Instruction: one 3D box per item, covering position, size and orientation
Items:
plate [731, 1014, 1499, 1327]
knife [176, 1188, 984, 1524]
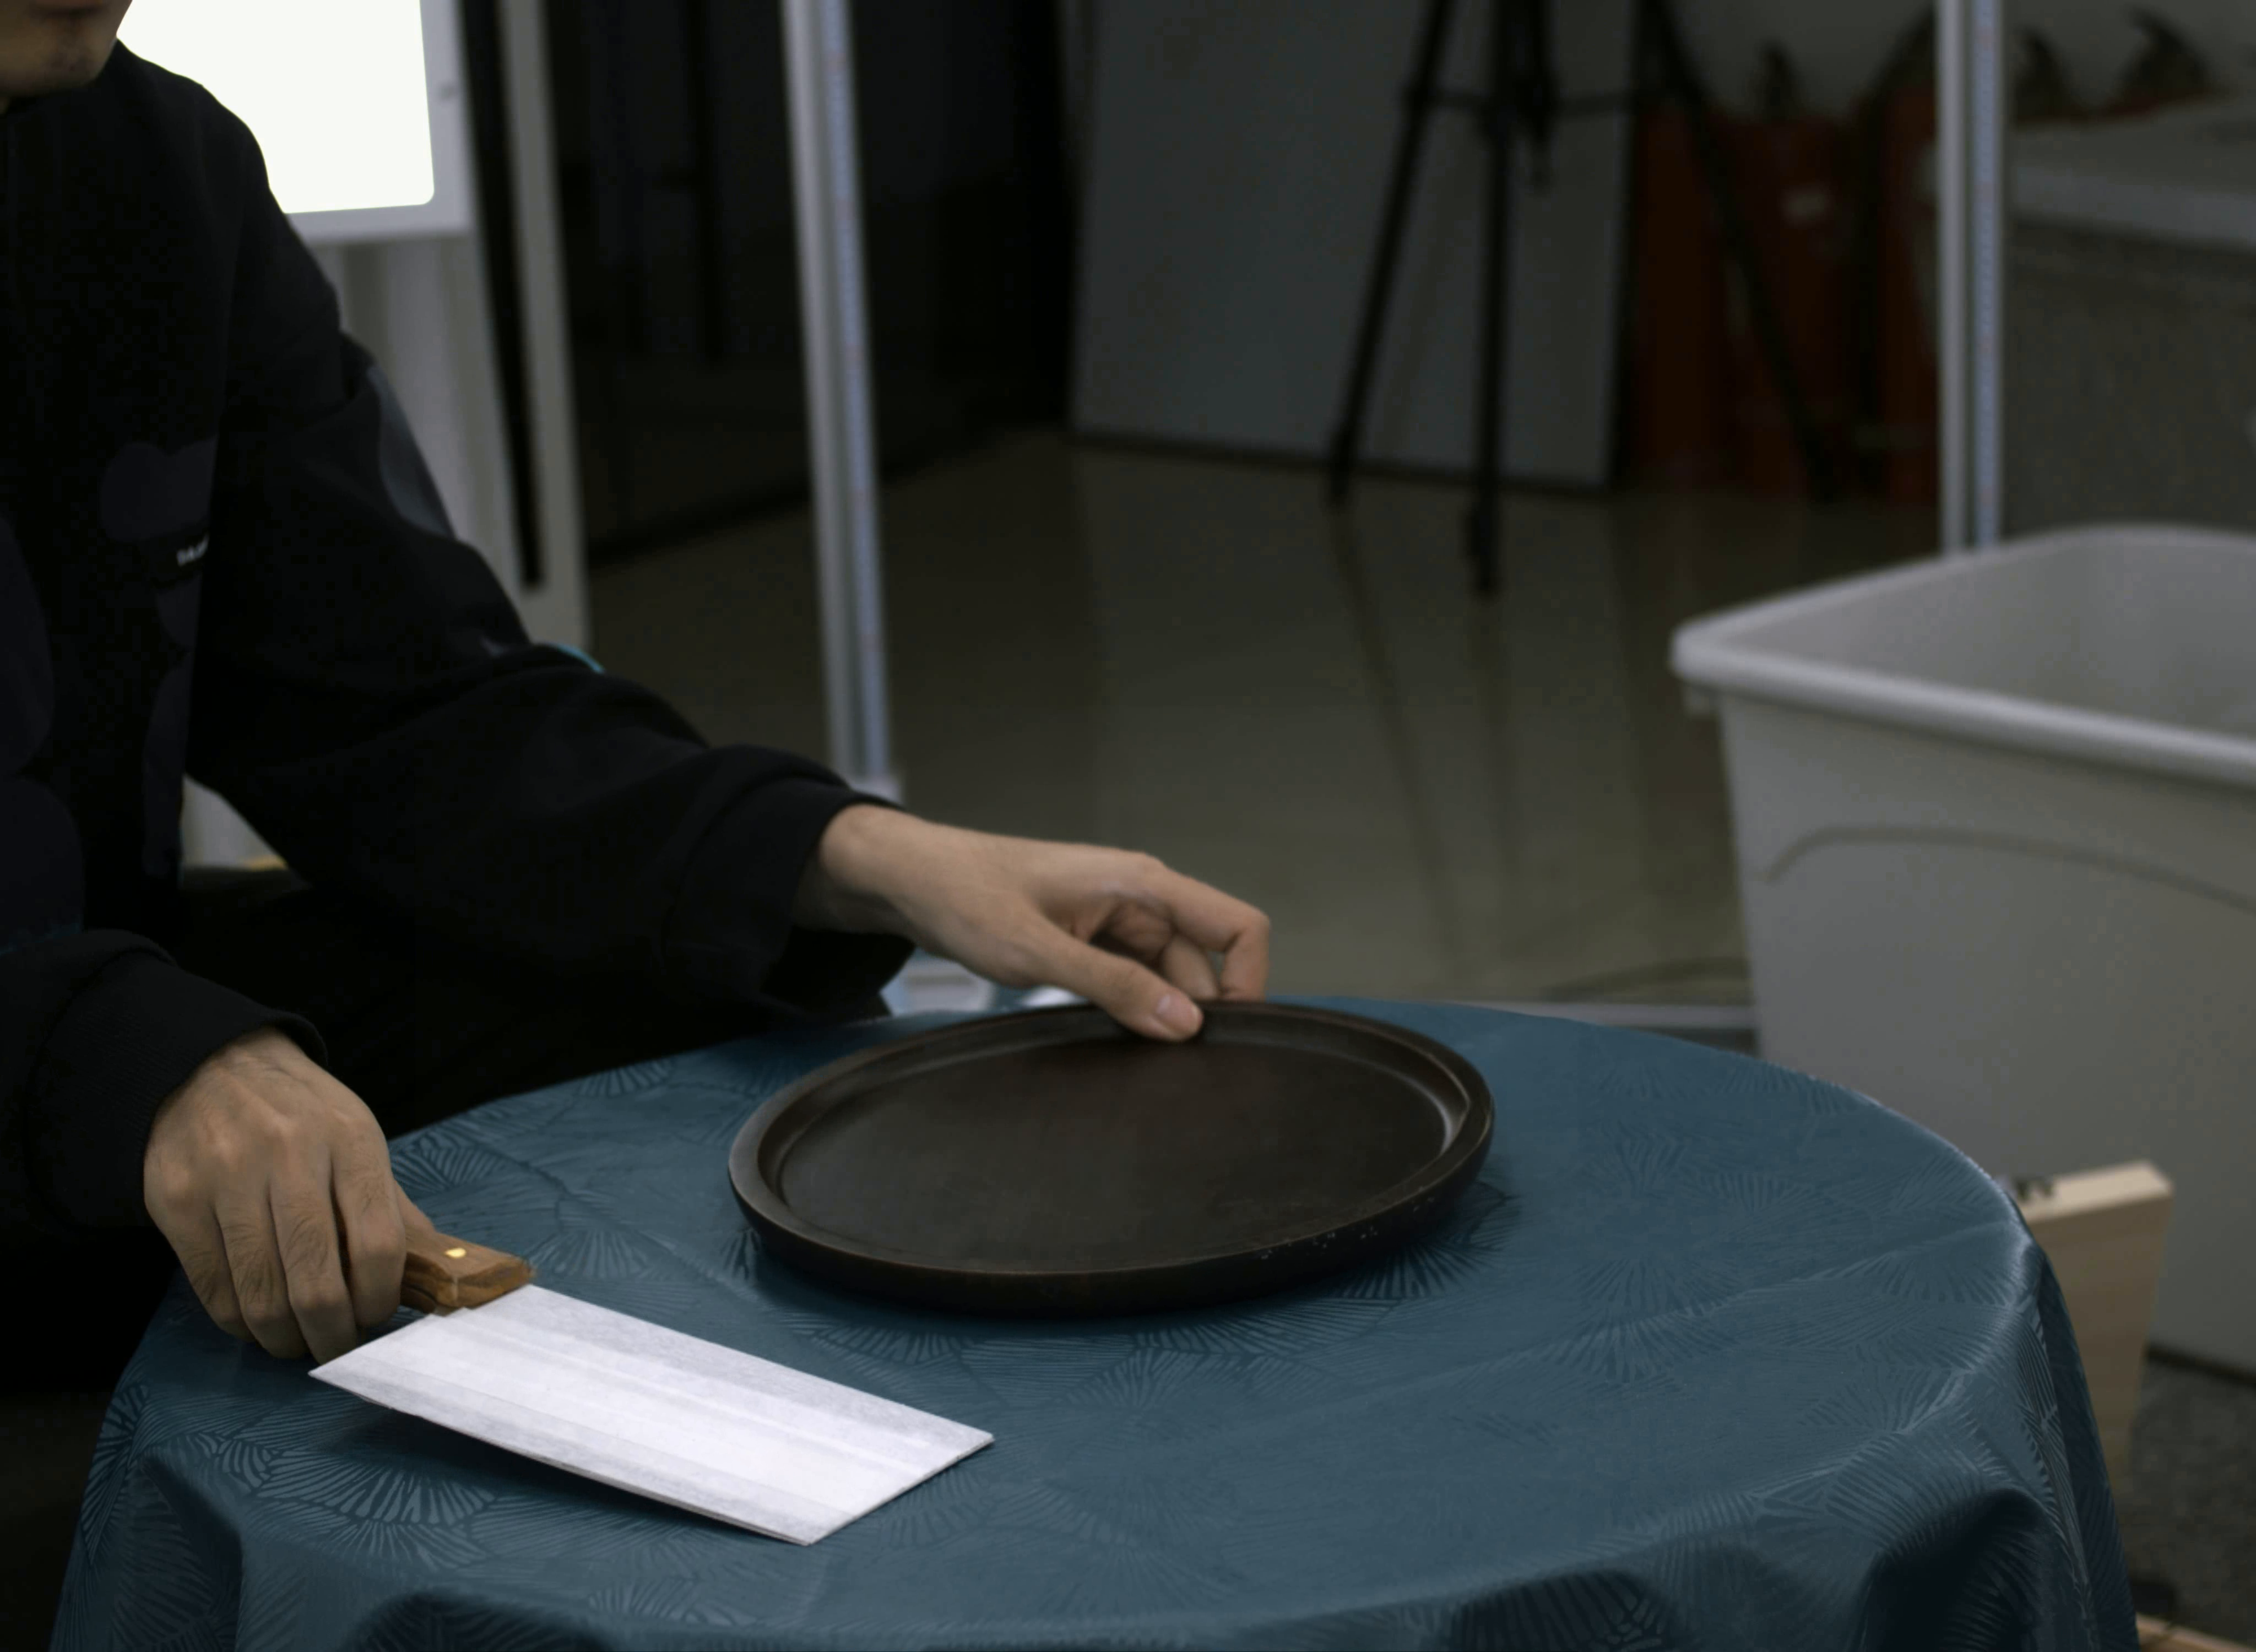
[{"bbox_3d":[-0.004,0.109,1.753,0.251,0.029,0.255,-5,17,1],"label":"plate"},{"bbox_3d":[-0.184,0.159,1.605,0.308,0.021,0.091,13,22,35],"label":"knife"}]
